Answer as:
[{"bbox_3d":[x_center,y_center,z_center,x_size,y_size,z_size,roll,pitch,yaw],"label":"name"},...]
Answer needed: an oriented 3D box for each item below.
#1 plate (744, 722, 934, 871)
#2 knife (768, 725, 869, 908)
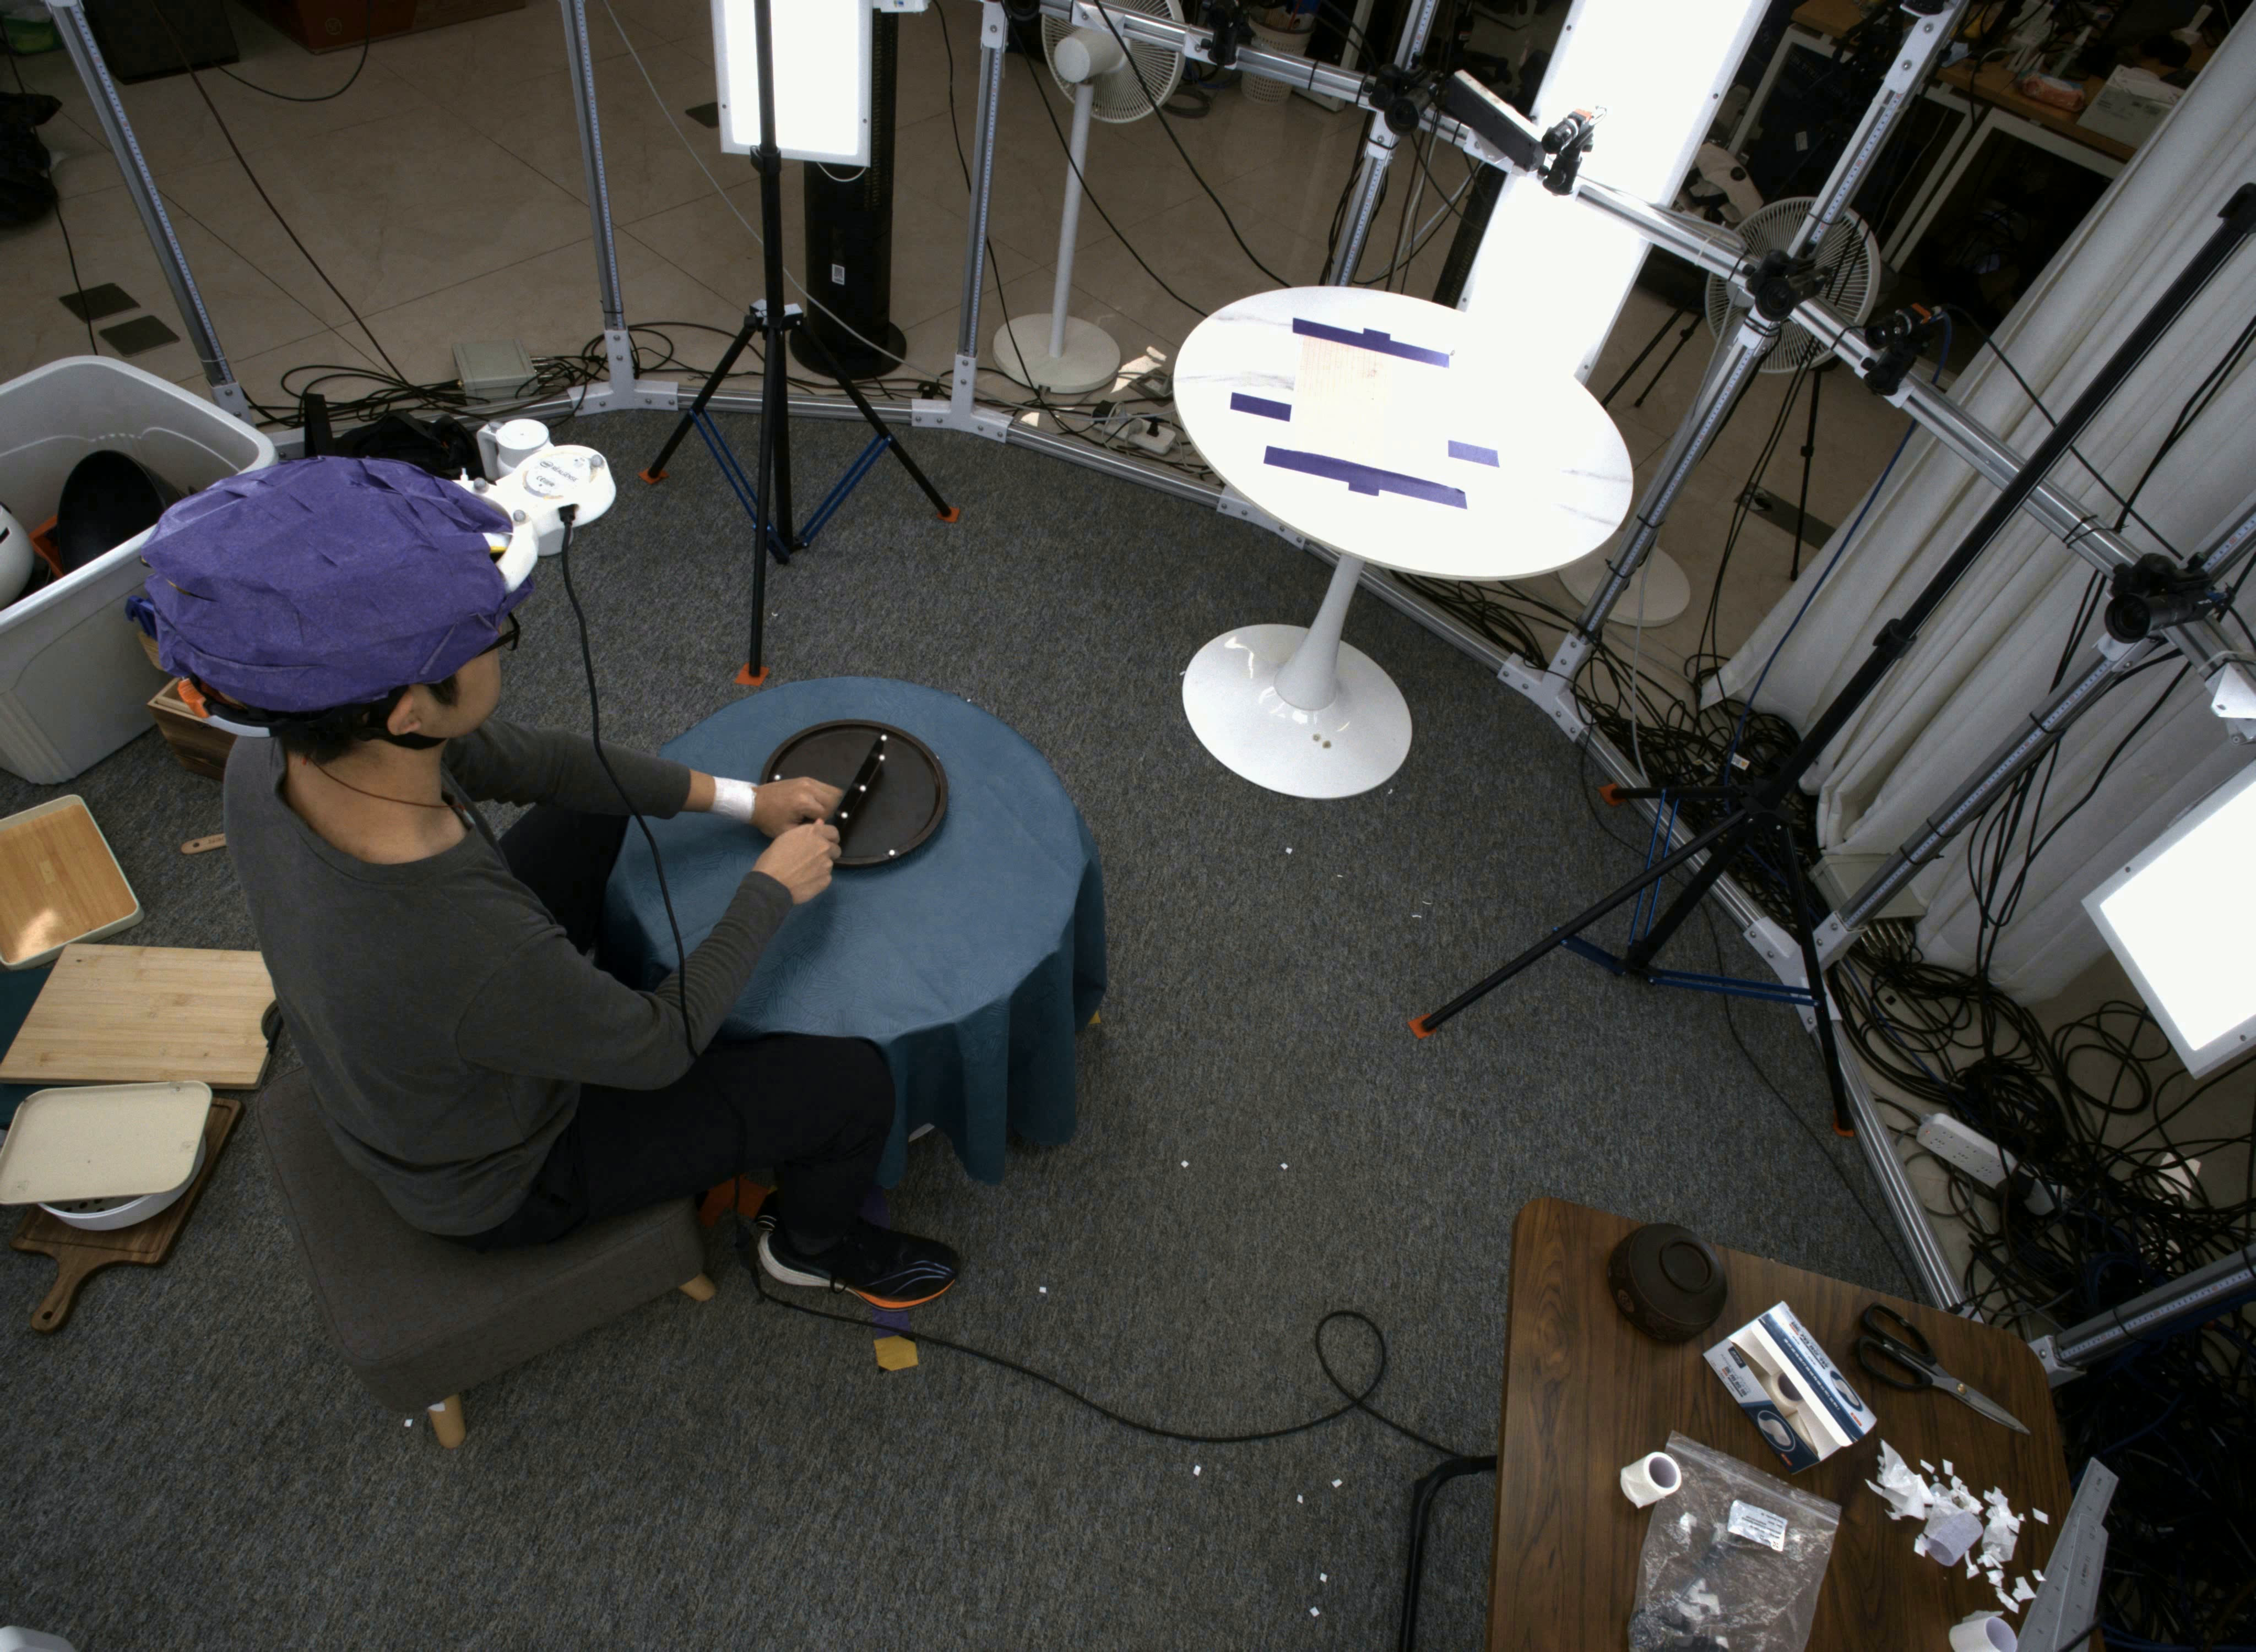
[{"bbox_3d":[-0.391,-0.042,1.761,0.254,0.029,0.250,8,53,-9],"label":"plate"},{"bbox_3d":[-0.394,-0.012,1.679,0.020,0.083,0.299,18,47,2],"label":"knife"}]
